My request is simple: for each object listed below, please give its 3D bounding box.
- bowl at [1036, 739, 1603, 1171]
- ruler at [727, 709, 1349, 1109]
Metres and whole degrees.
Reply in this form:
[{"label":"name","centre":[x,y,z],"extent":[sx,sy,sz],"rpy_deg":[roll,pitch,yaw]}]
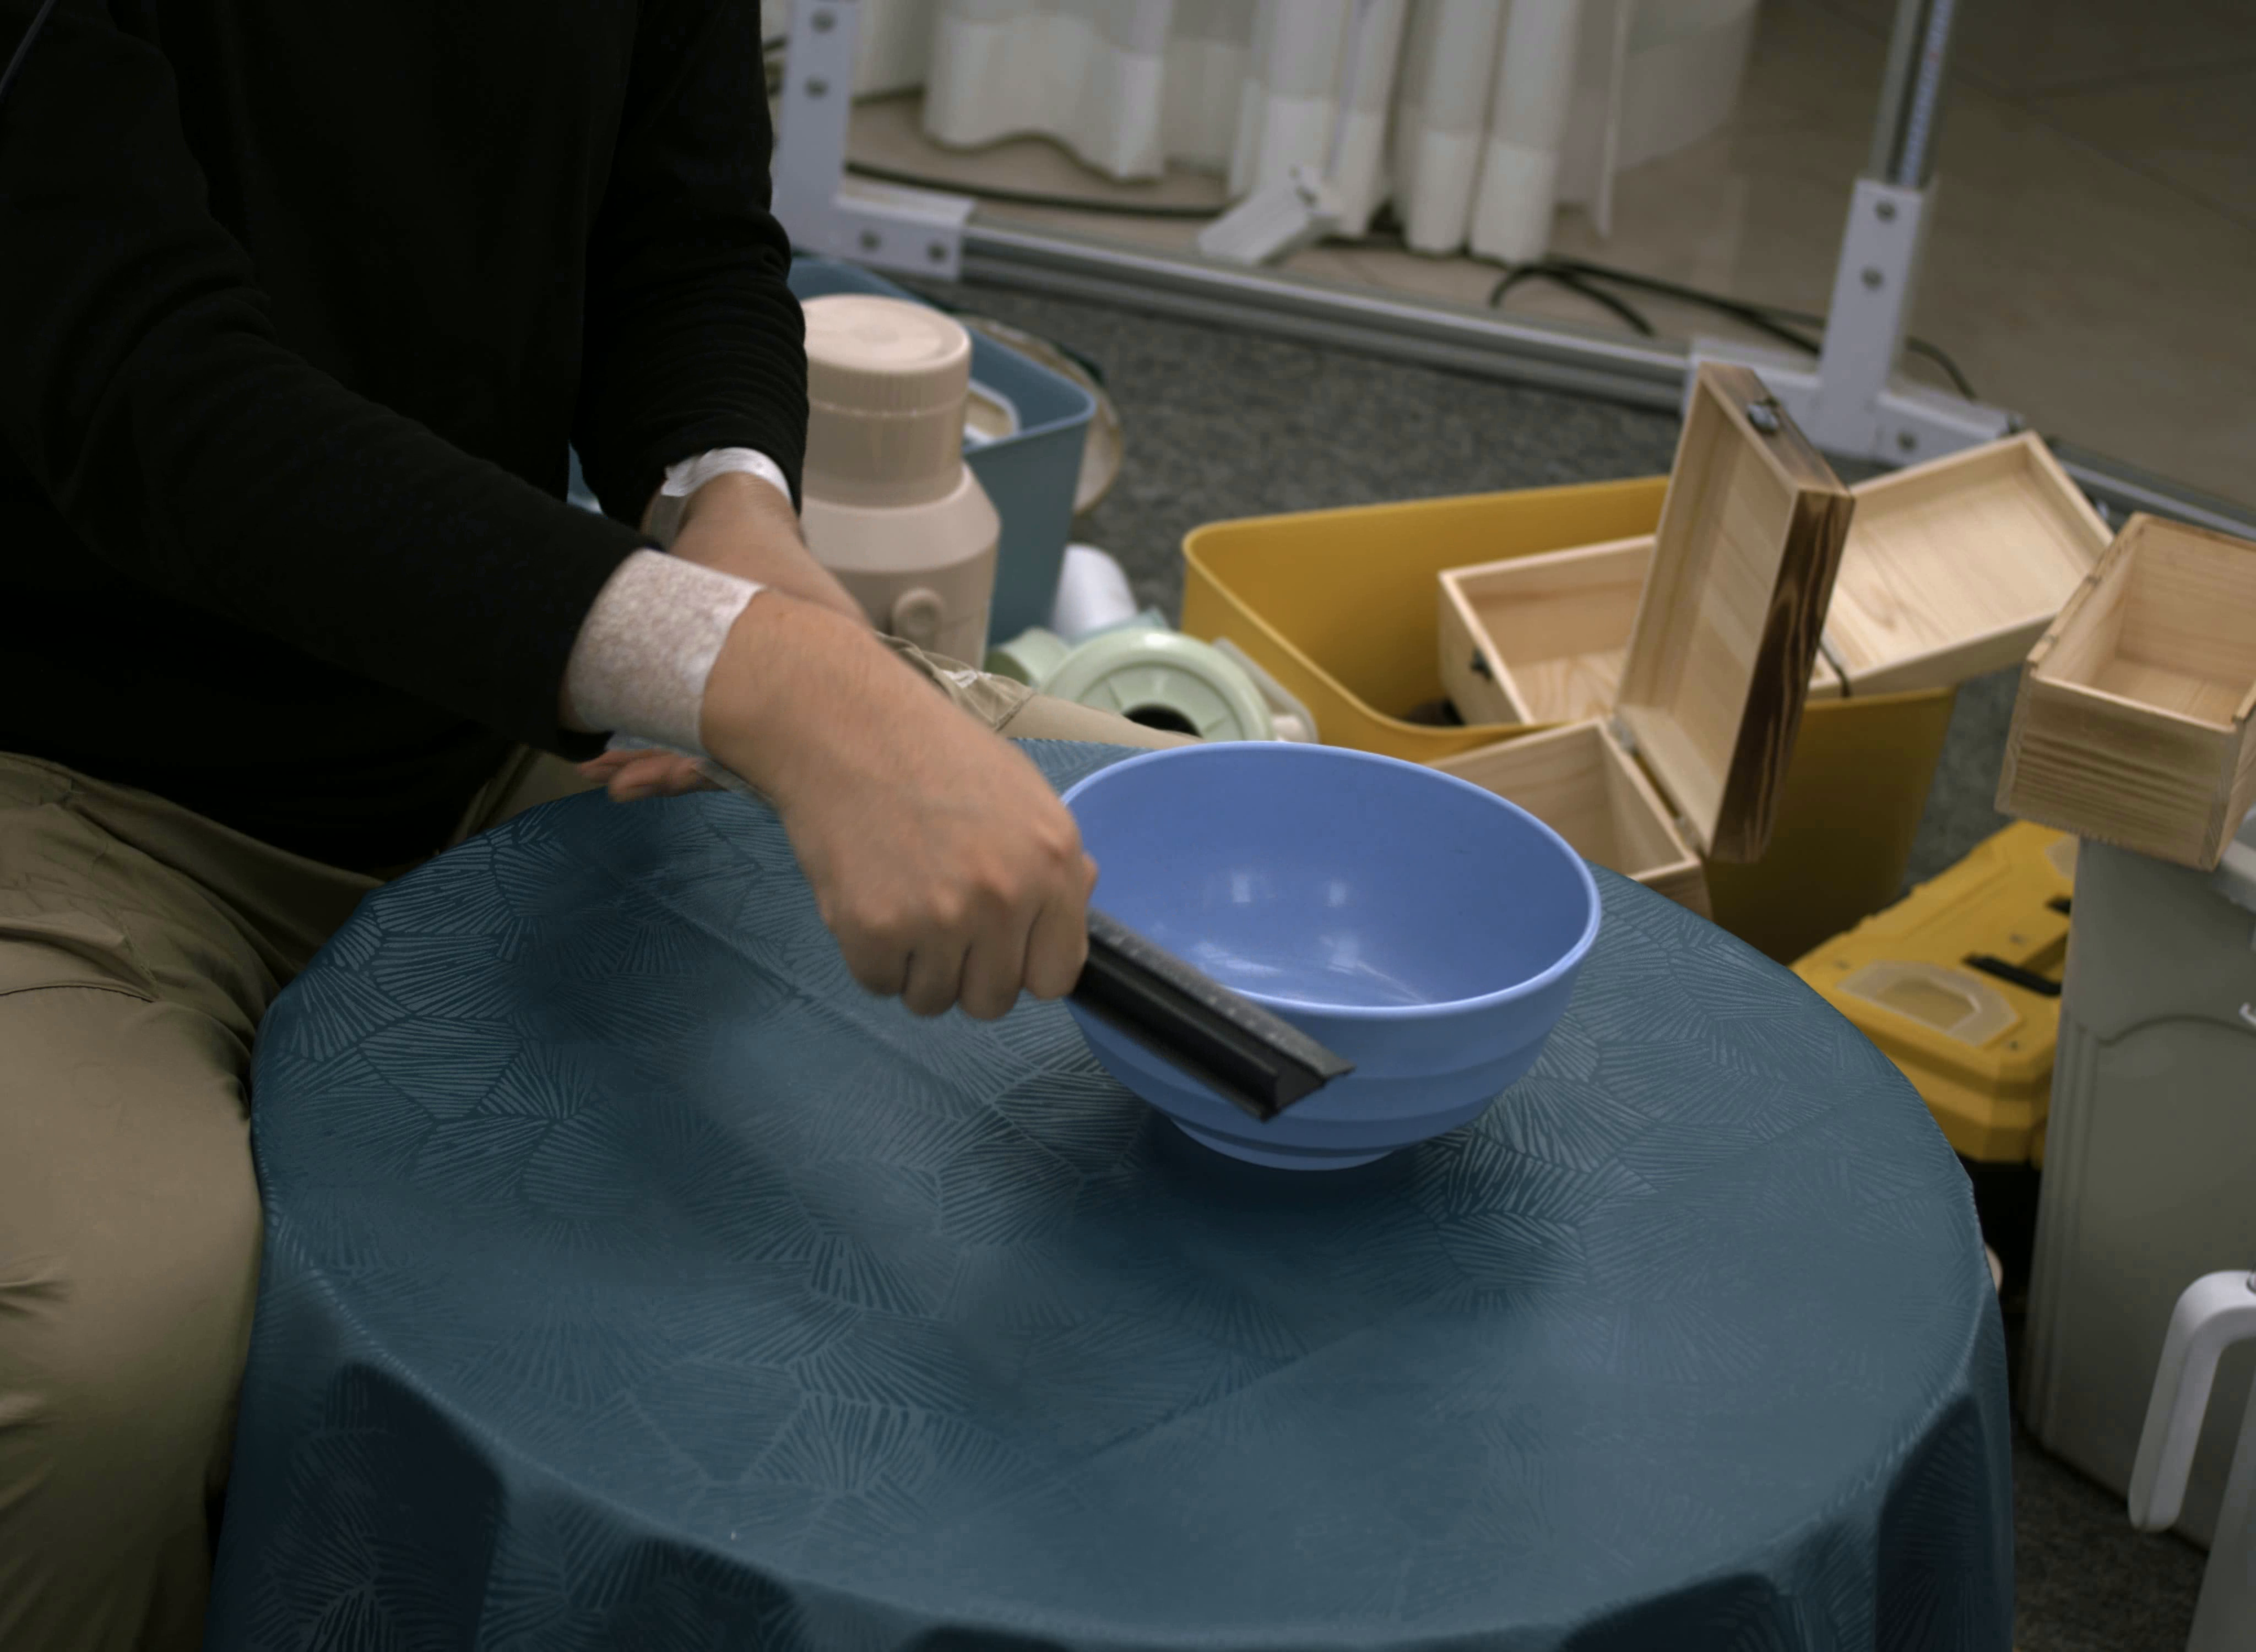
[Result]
[{"label":"bowl","centre":[0.060,0.056,1.843],"extent":[0.196,0.095,0.197],"rpy_deg":[6,27,-3]},{"label":"ruler","centre":[-0.035,0.017,1.738],"extent":[0.039,0.017,0.315],"rpy_deg":[-23,34,-28]}]
